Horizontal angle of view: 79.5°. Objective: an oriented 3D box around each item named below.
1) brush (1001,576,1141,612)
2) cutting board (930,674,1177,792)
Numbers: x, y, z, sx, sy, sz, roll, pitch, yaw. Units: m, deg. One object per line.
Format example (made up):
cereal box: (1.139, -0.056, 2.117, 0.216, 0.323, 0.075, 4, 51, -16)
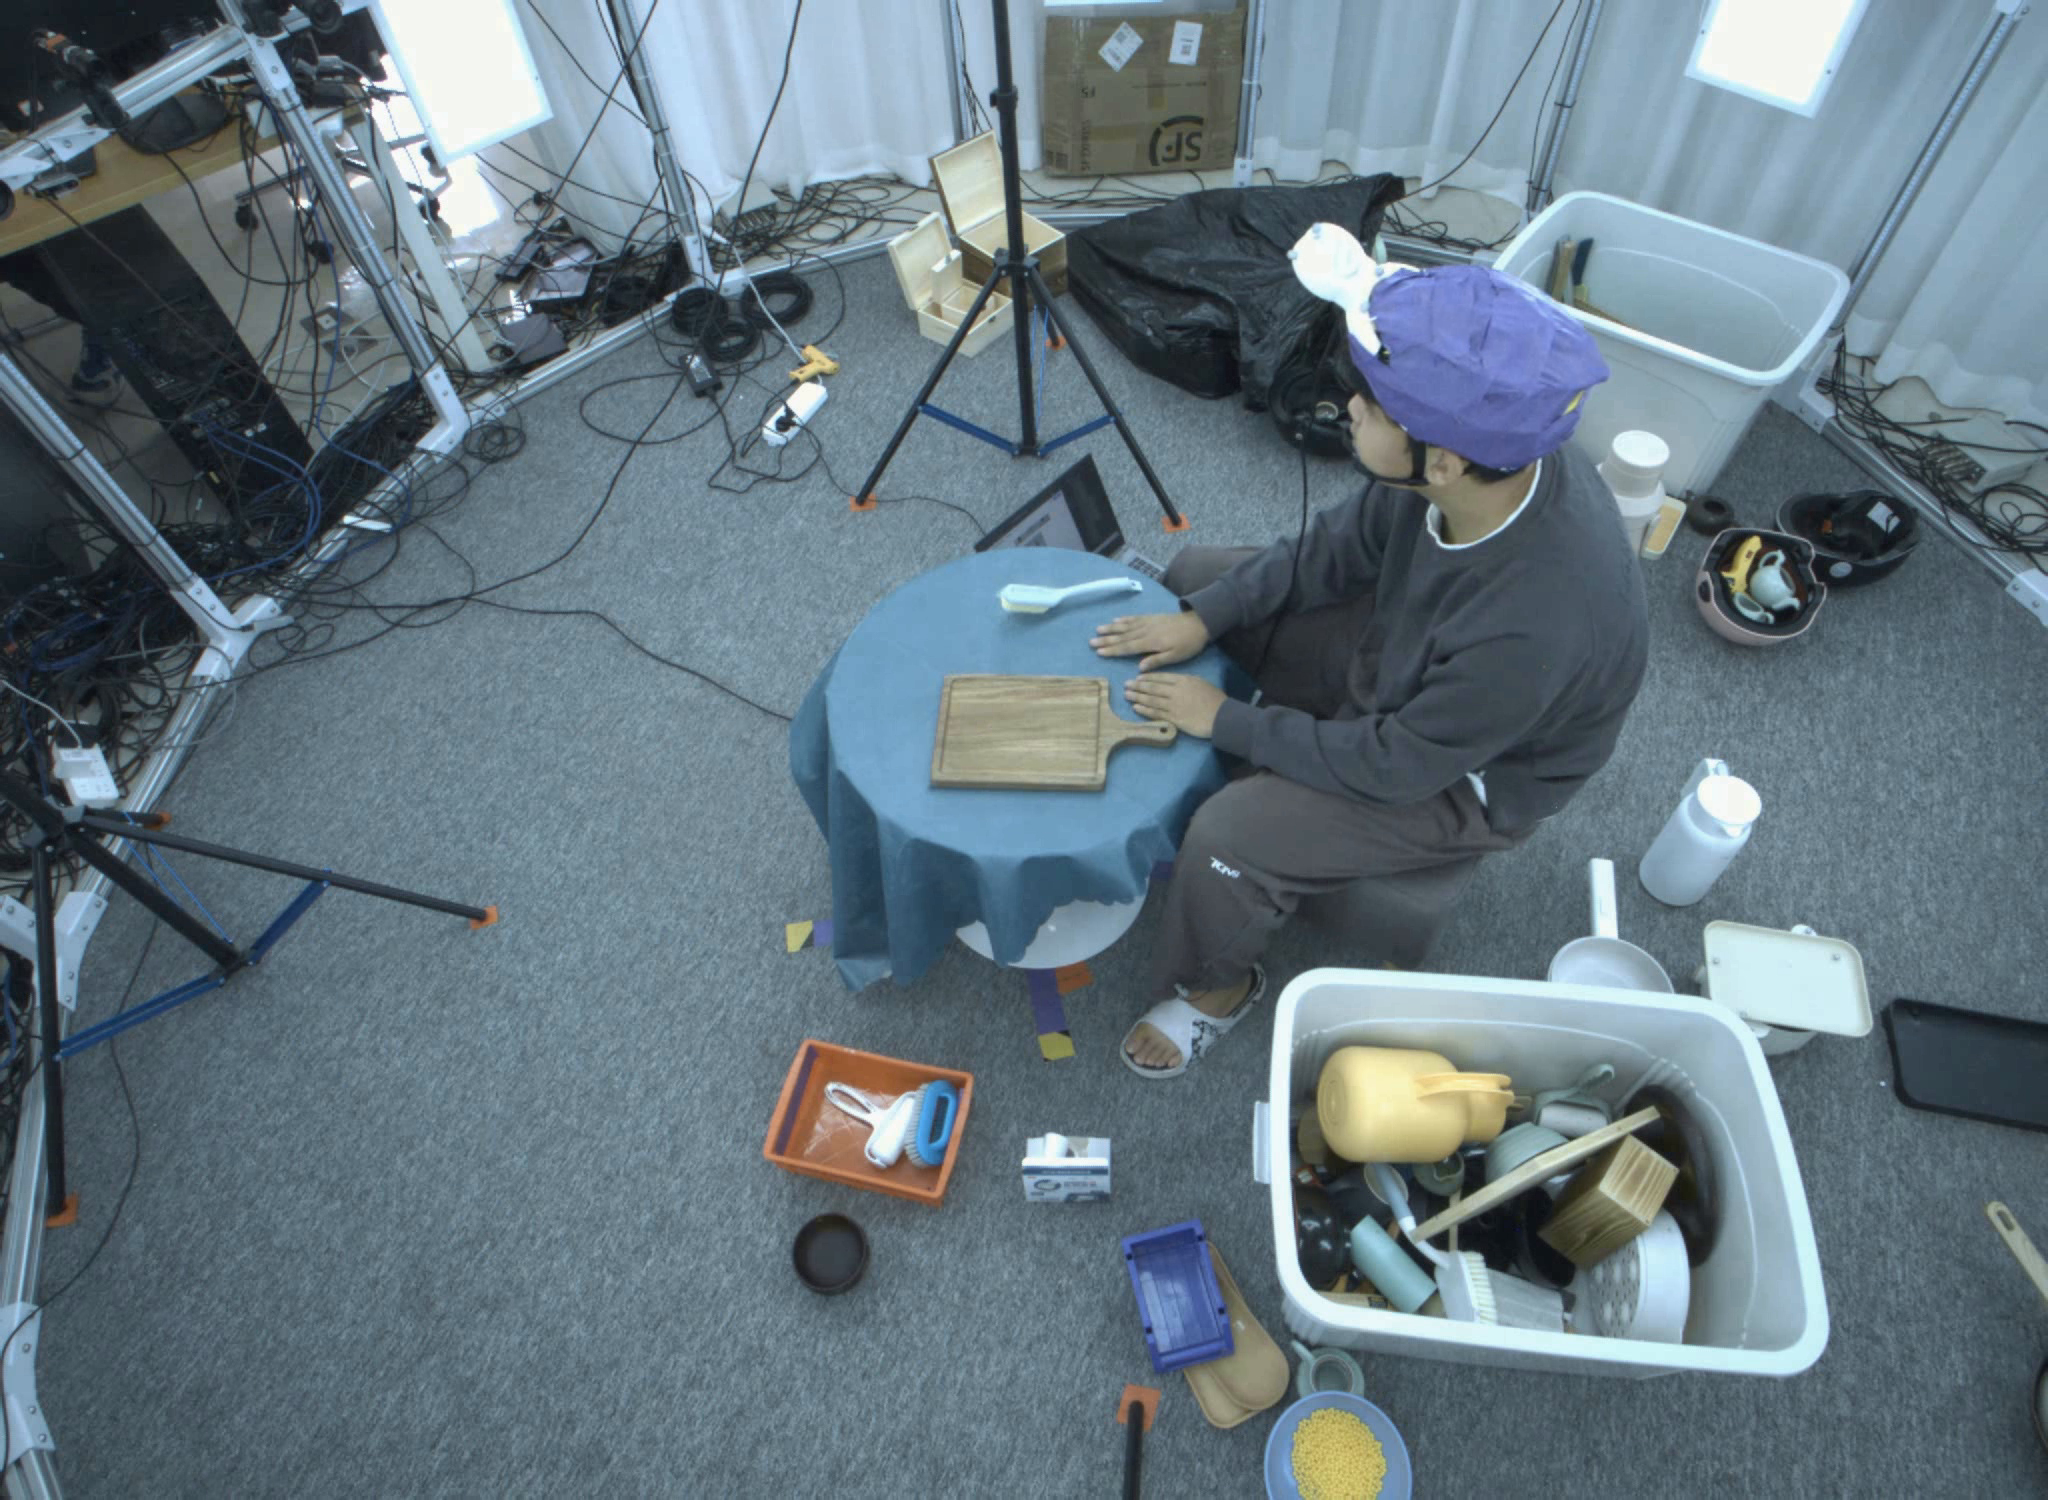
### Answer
brush: (0.075, -0.248, 1.942, 0.231, 0.050, 0.037, -9, 60, -15)
cutting board: (0.046, -0.026, 1.793, 0.351, 0.023, 0.199, 2, 55, 3)
